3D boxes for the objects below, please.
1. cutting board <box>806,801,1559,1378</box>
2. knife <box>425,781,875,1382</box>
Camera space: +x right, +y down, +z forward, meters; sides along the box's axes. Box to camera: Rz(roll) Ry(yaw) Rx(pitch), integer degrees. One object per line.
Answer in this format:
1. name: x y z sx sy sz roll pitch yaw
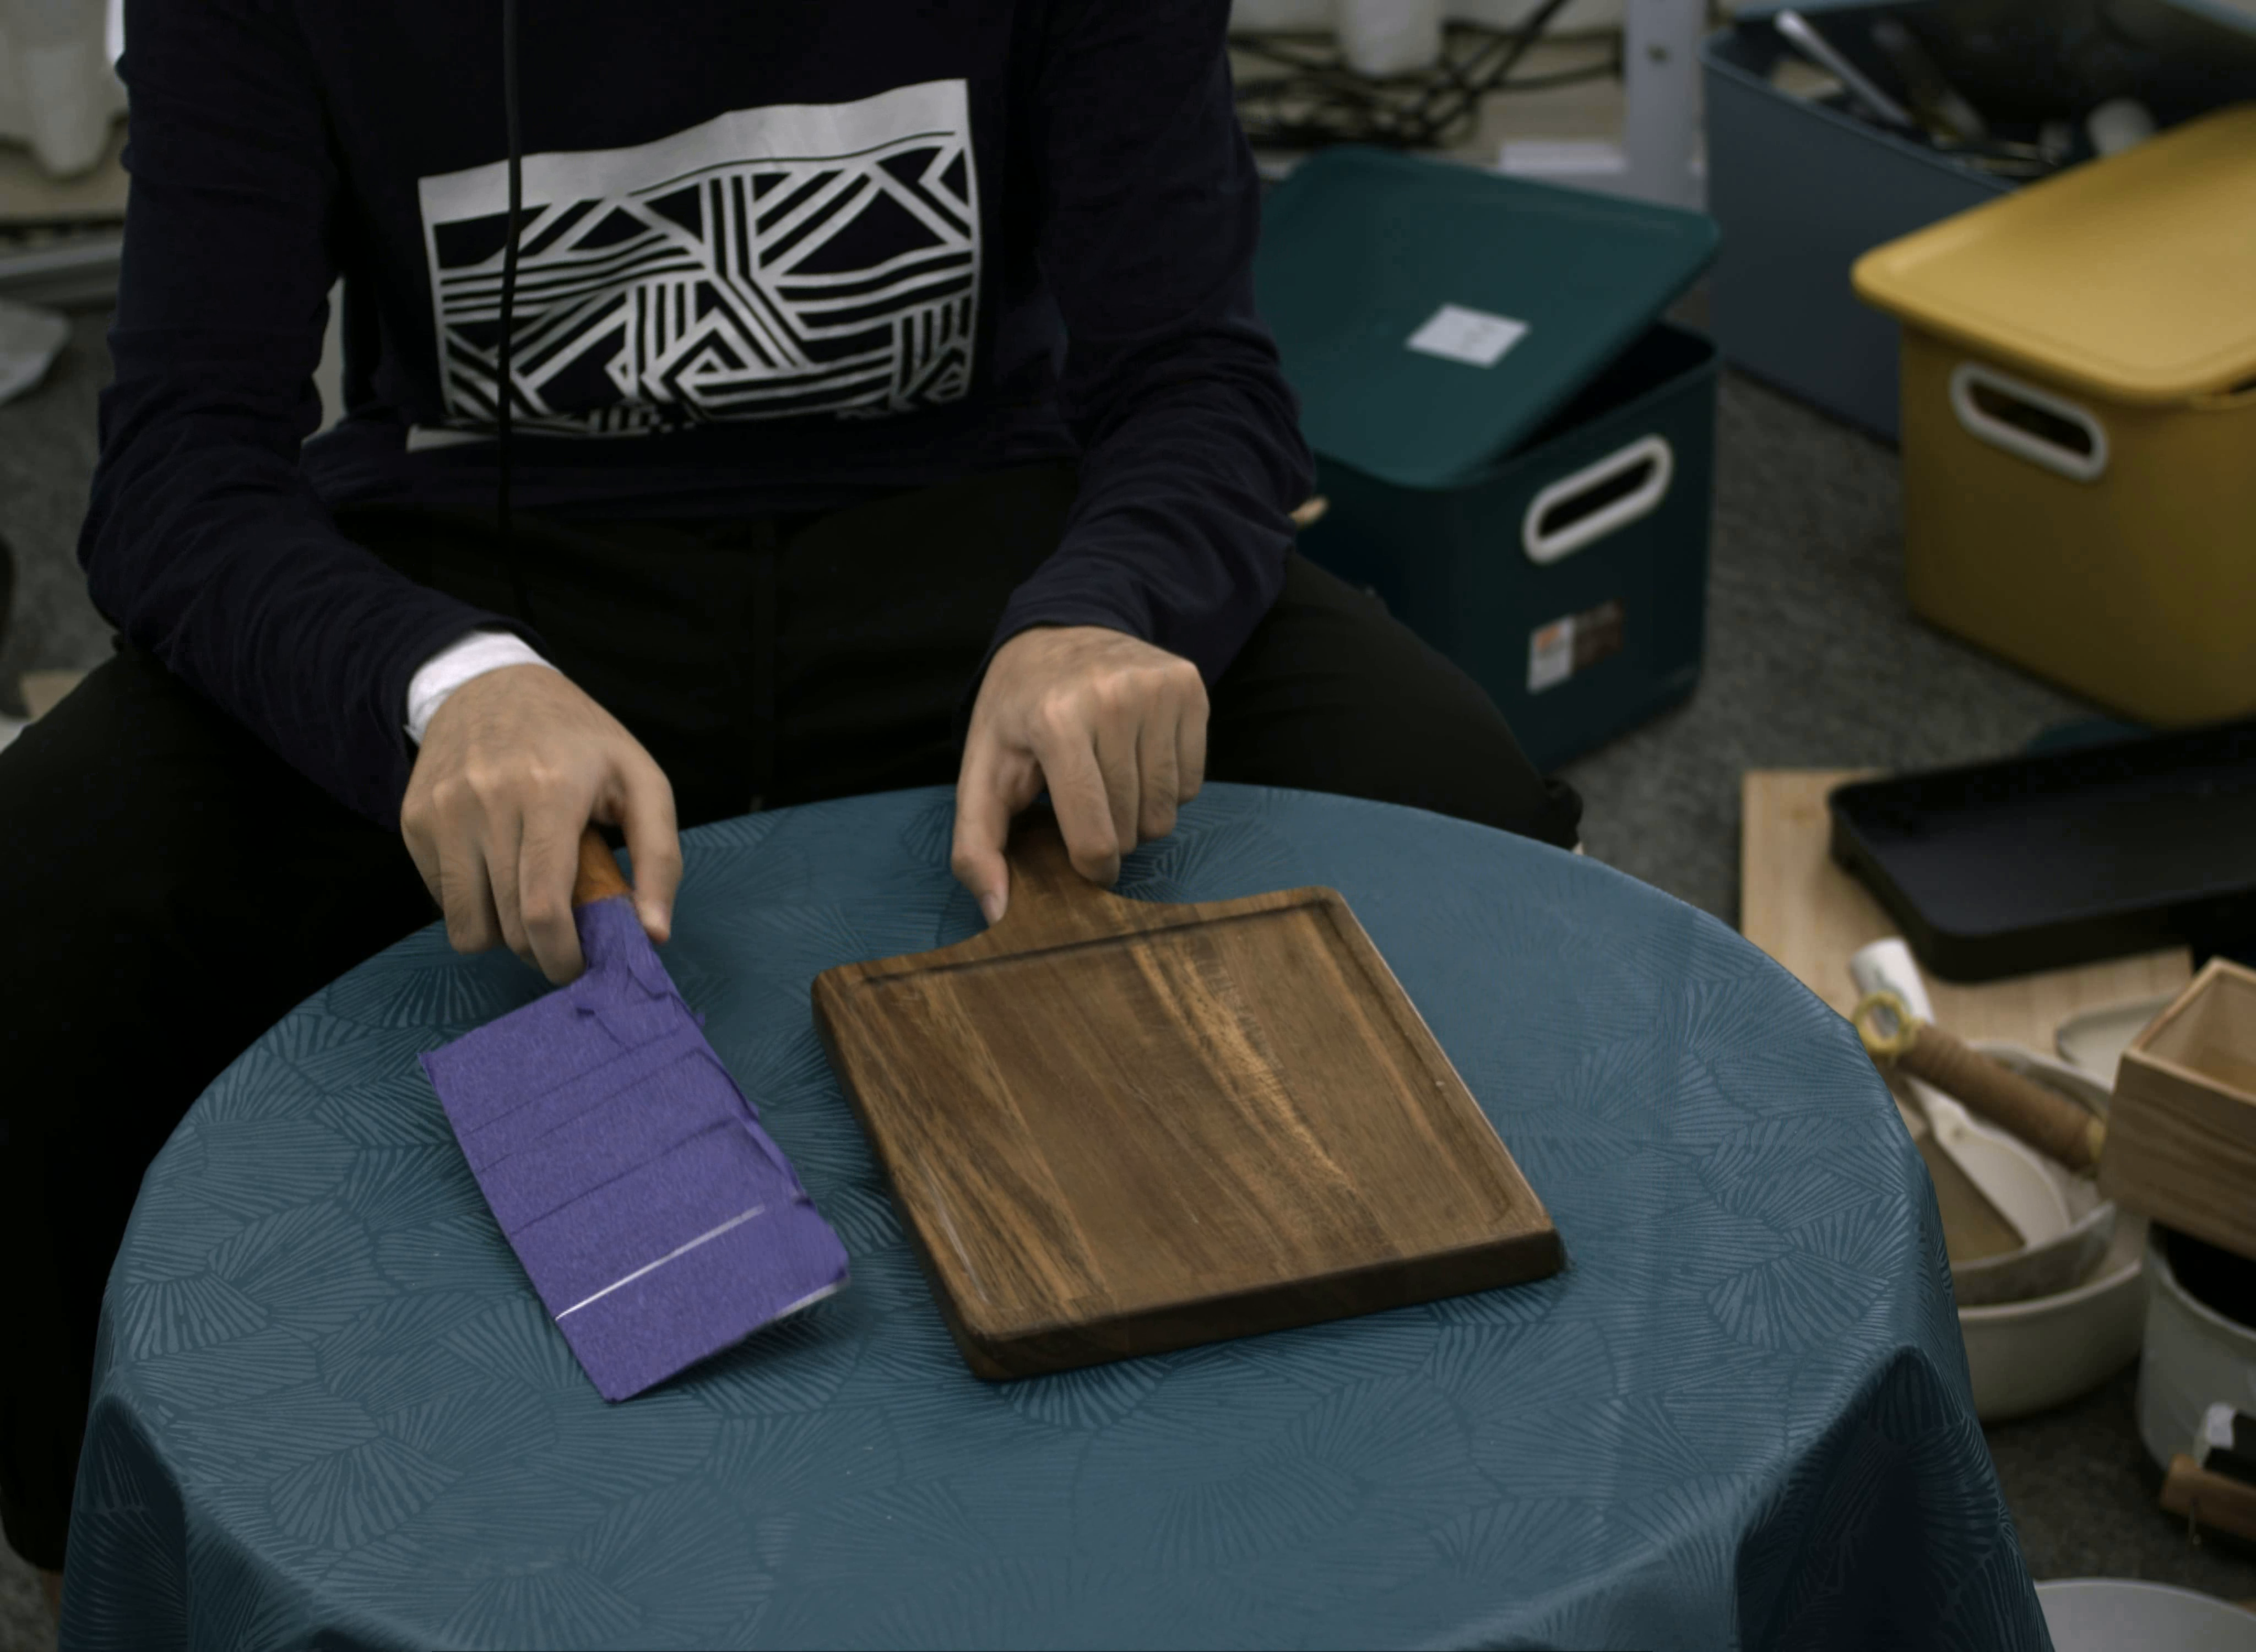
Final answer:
1. cutting board: 0.000 0.075 1.929 0.201 0.023 0.356 -9 28 -12
2. knife: -0.184 0.081 1.888 0.104 0.032 0.318 -28 35 -9
